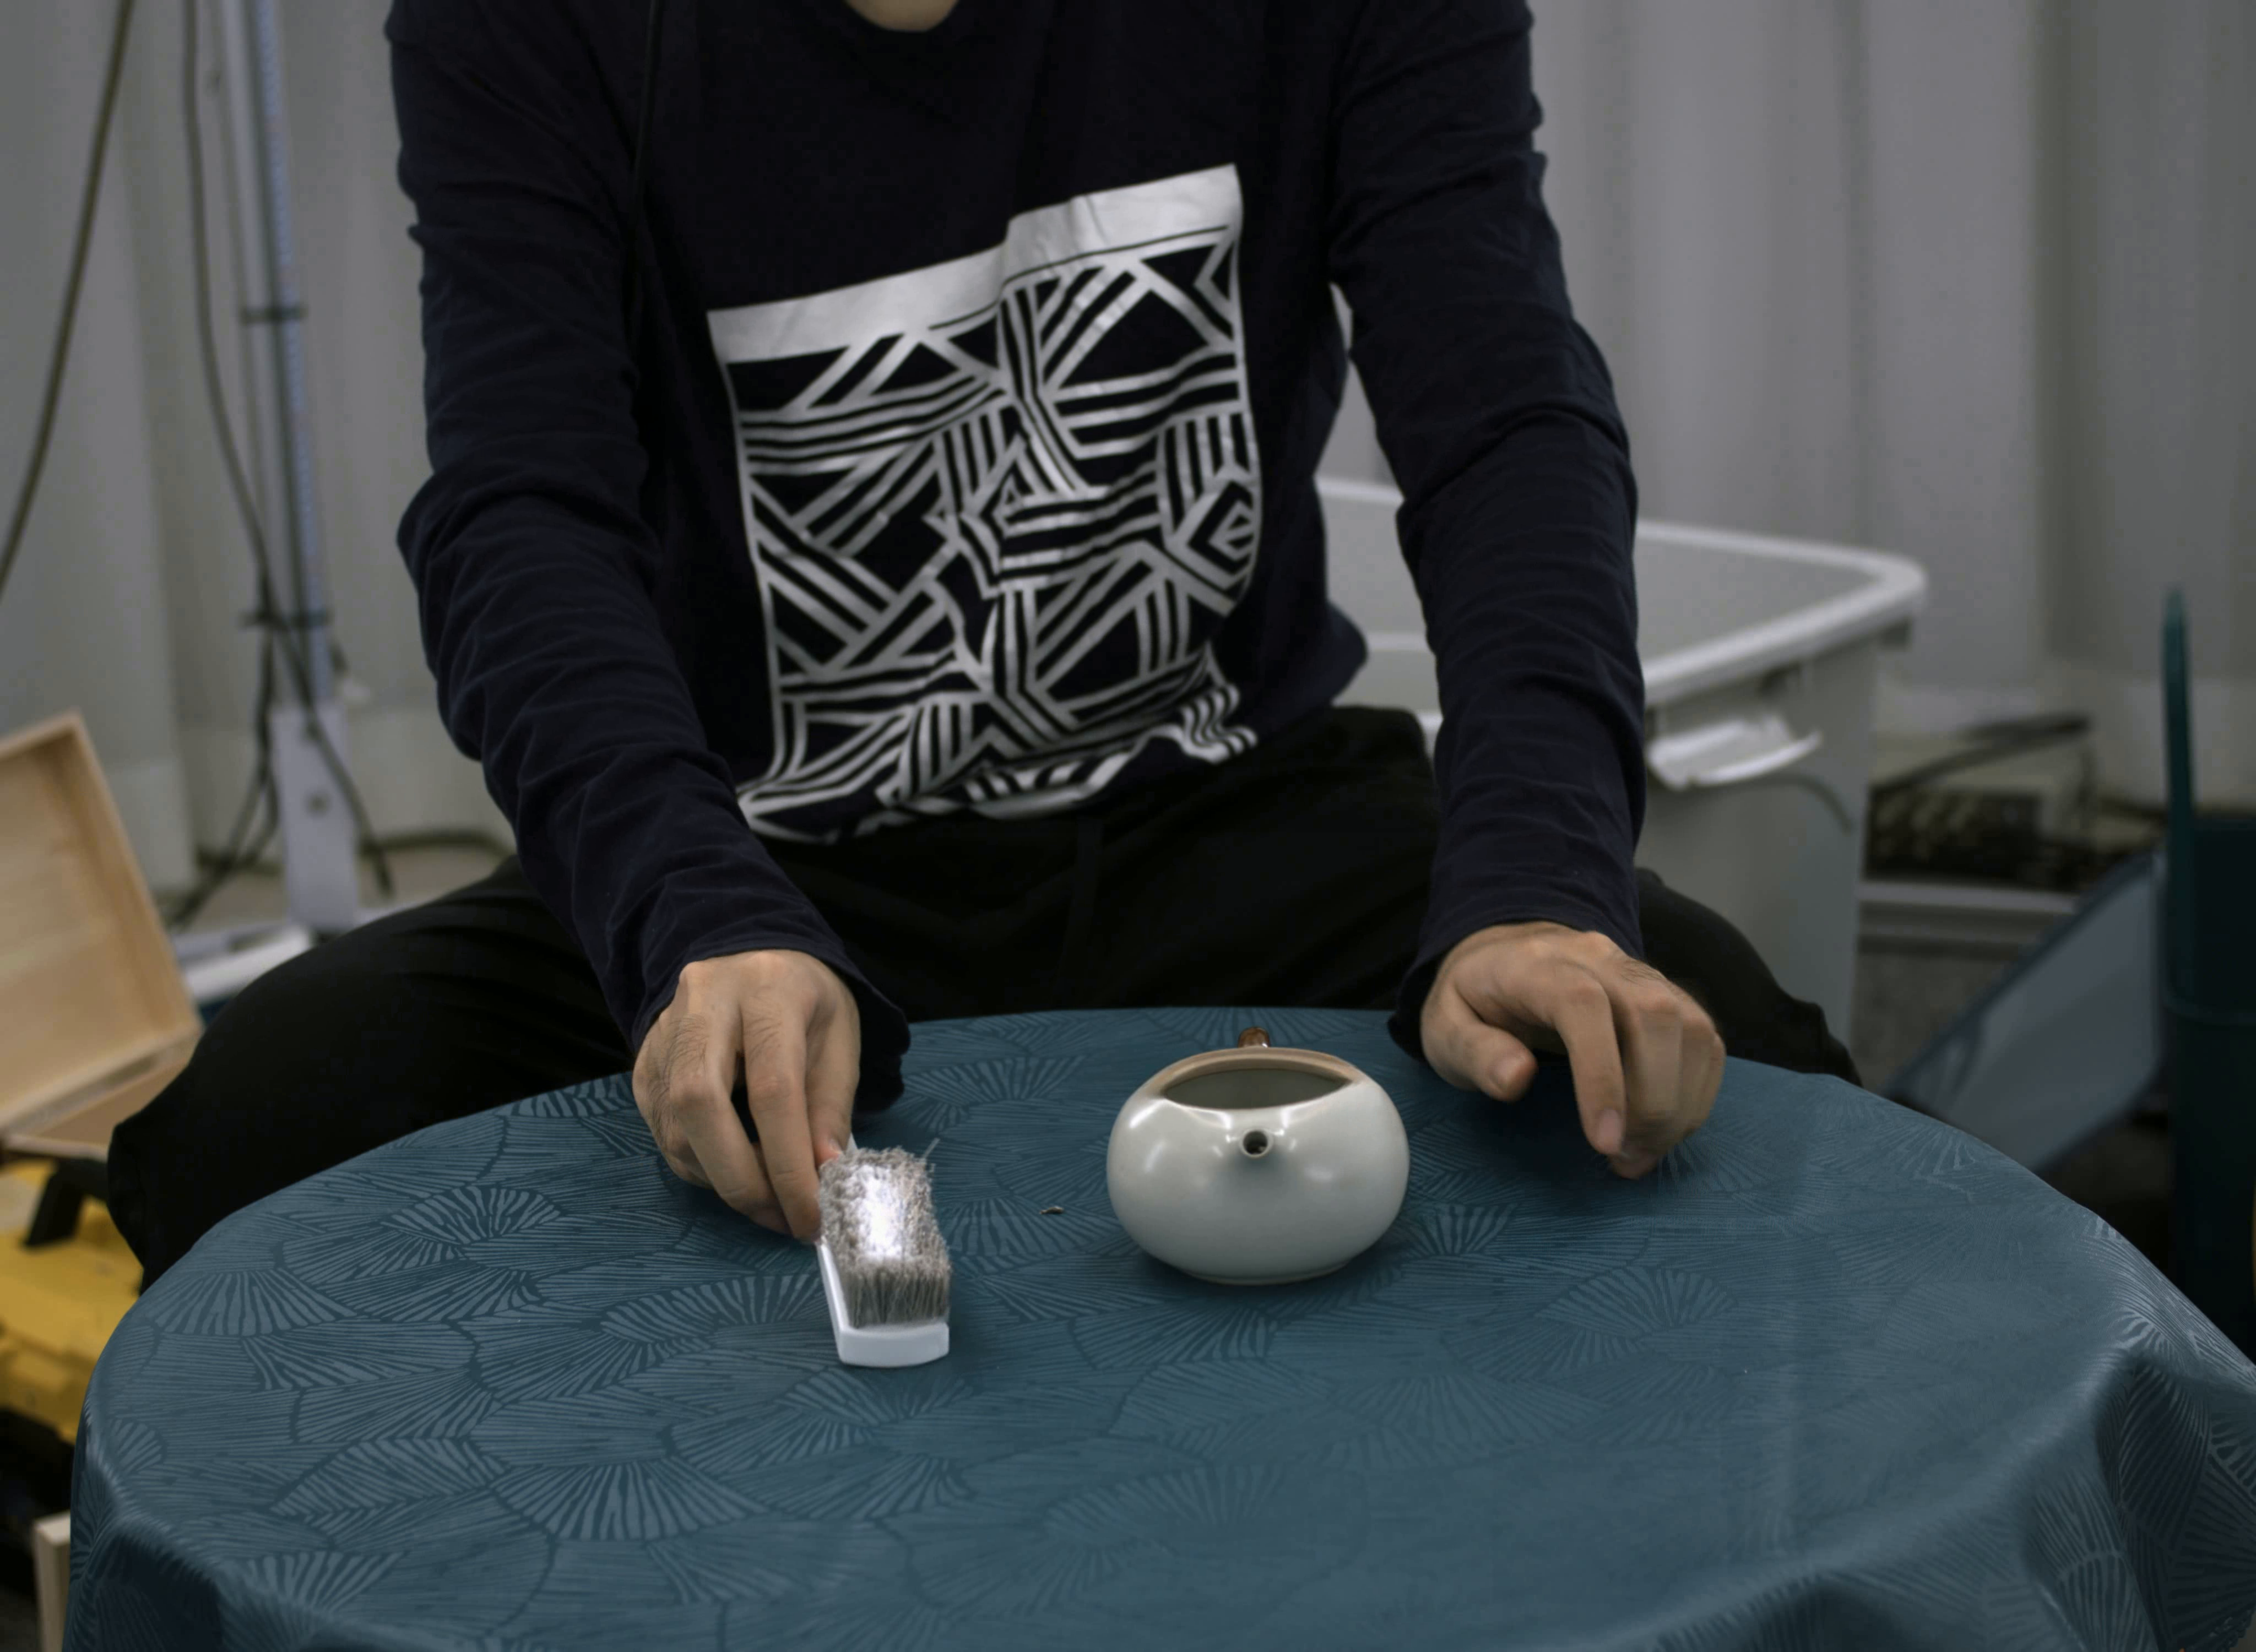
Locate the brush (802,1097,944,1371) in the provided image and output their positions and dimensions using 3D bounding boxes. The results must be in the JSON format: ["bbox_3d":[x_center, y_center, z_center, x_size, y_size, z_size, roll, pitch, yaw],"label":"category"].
[{"bbox_3d":[-0.083,0.105,1.672,0.034,0.050,0.245,-6,15,-5],"label":"brush"}]

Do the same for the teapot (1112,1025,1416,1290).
[{"bbox_3d":[0.041,0.100,1.653,0.091,0.059,0.129,-6,16,1],"label":"teapot"}]
